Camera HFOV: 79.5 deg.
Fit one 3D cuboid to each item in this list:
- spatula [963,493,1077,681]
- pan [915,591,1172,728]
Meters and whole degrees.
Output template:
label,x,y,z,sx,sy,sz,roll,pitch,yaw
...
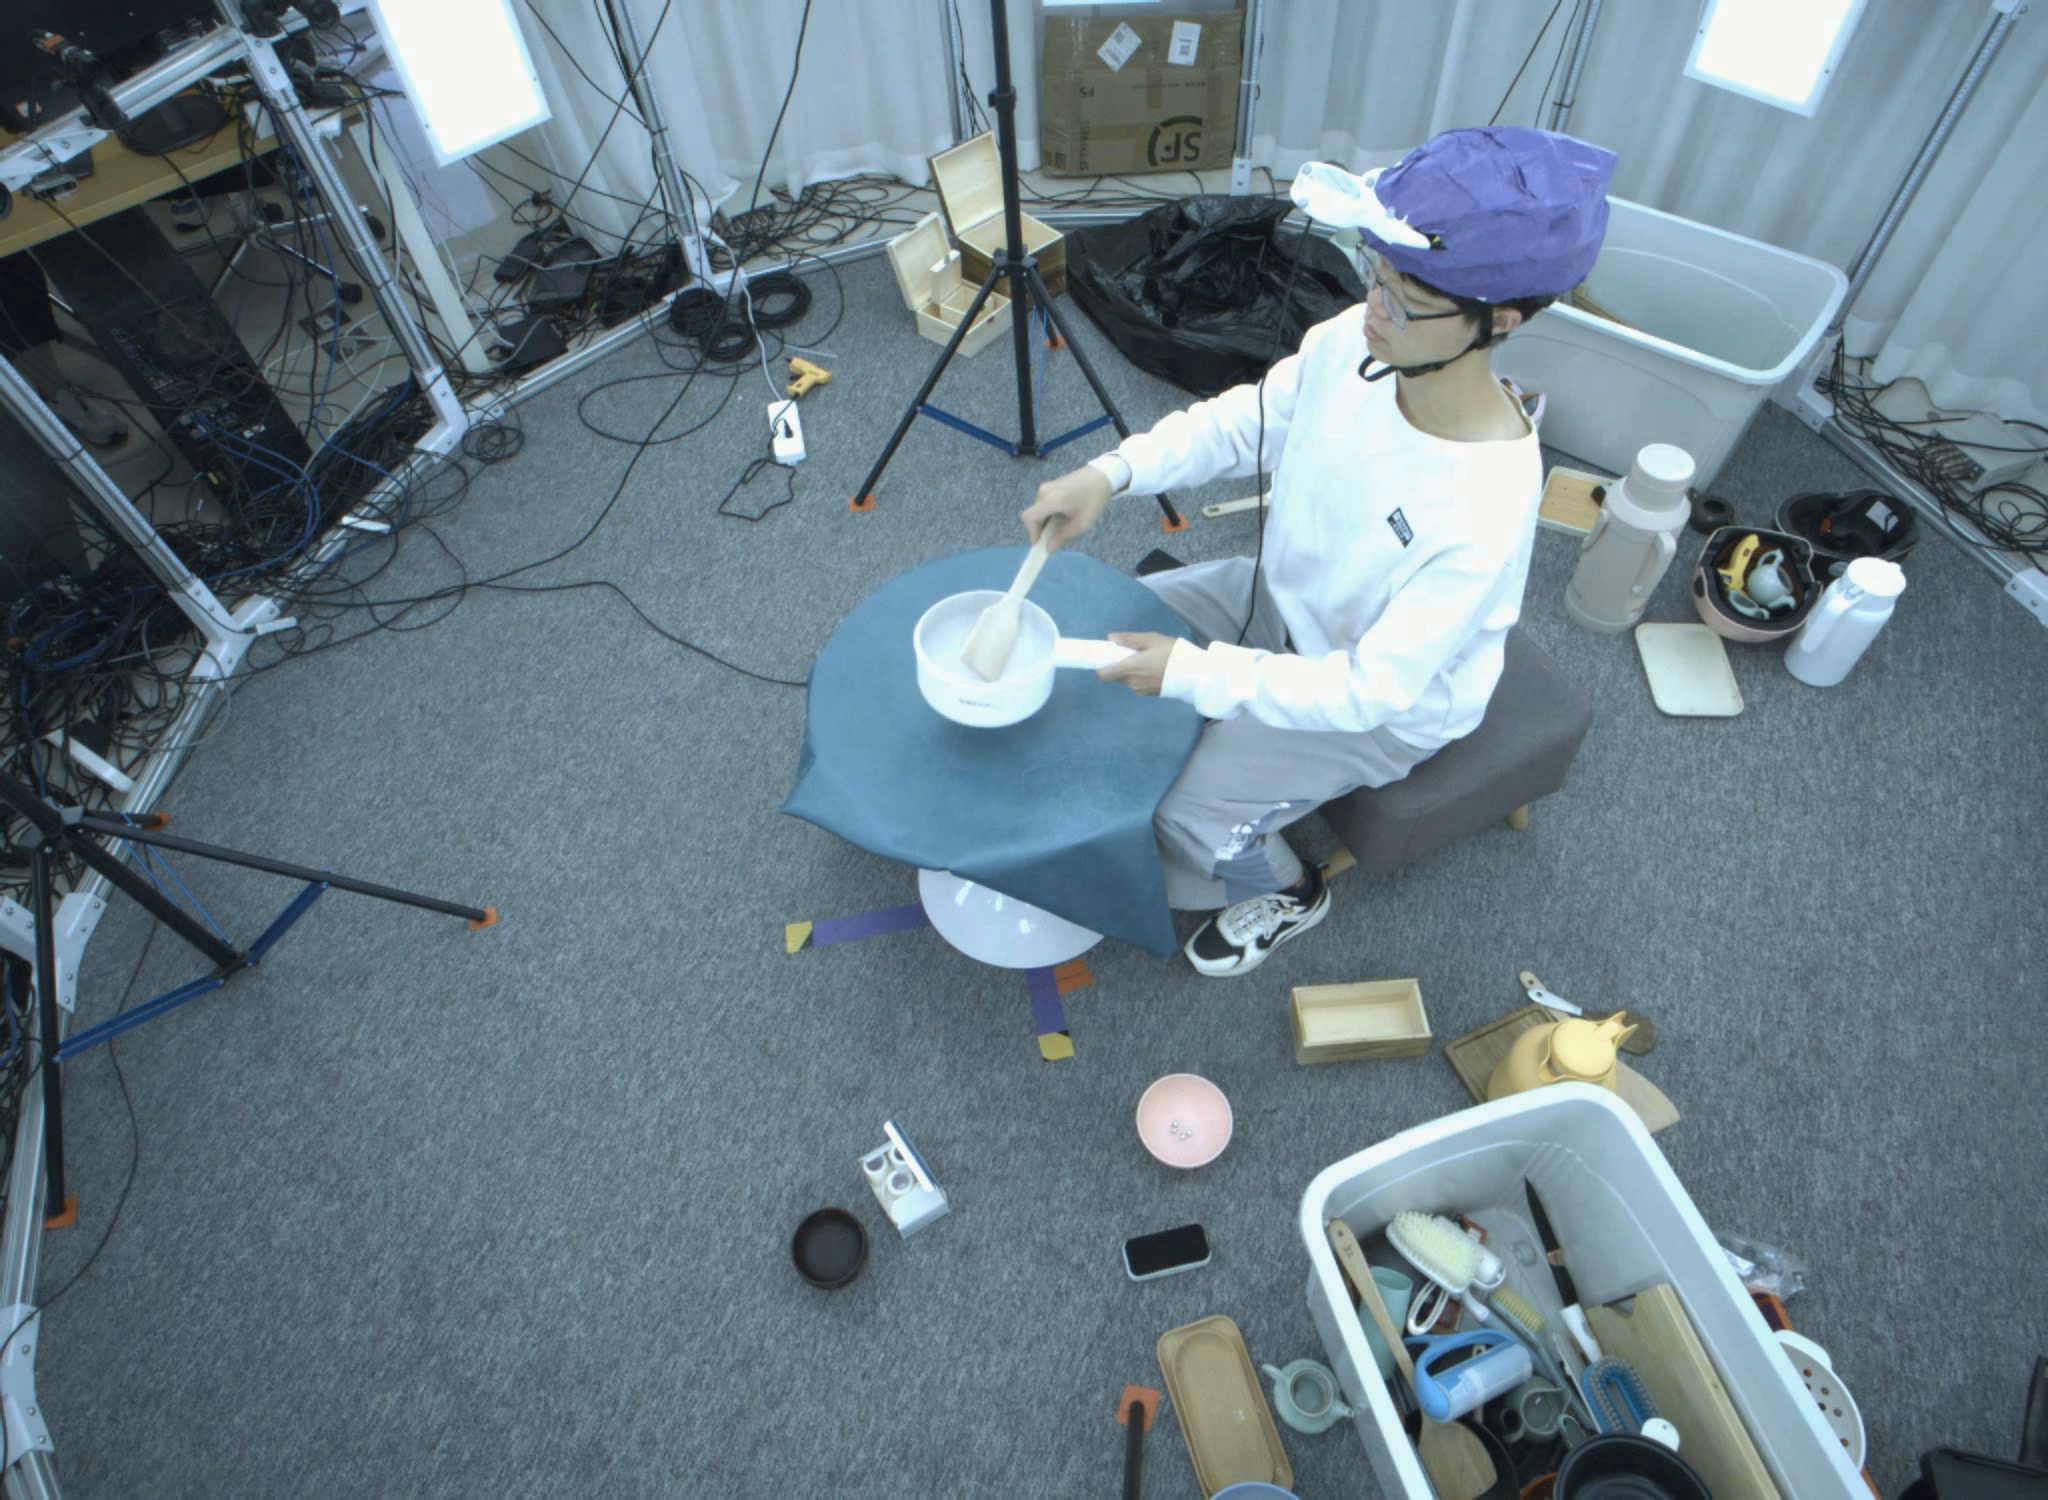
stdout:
label,x,y,z,sx,sy,sz,roll,pitch,yaw
spatula,0.002,-0.236,1.717,0.010,0.074,0.293,11,70,53
pan,0.025,-0.116,1.722,0.356,0.103,0.199,5,46,-3
